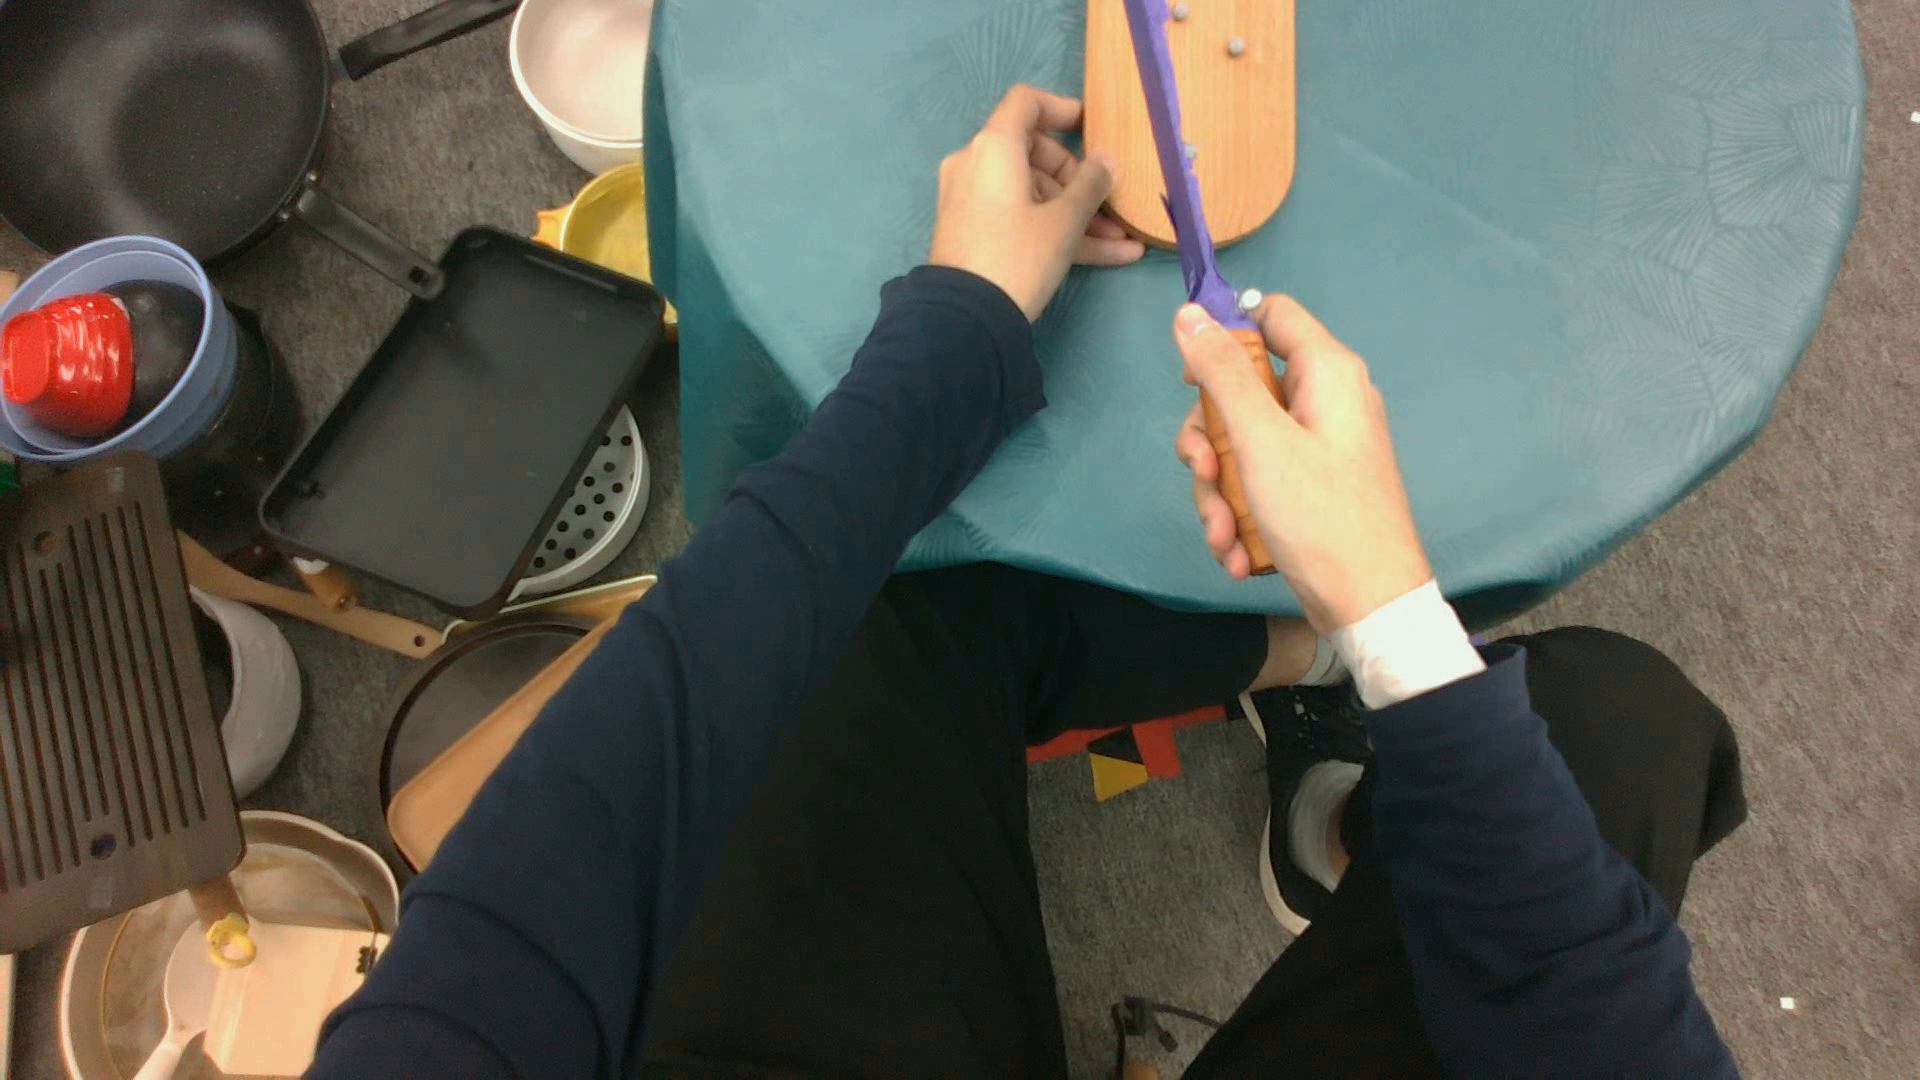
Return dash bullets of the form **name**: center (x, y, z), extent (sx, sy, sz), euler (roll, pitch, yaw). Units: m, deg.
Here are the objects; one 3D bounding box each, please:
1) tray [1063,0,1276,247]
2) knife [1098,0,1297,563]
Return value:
- **tray**: center (0.101, -0.250, 0.674), extent (0.102, 0.020, 0.231), euler (2, 77, -3)
- **knife**: center (0.086, -0.142, 0.562), extent (0.032, 0.104, 0.315), euler (-11, 80, 7)
